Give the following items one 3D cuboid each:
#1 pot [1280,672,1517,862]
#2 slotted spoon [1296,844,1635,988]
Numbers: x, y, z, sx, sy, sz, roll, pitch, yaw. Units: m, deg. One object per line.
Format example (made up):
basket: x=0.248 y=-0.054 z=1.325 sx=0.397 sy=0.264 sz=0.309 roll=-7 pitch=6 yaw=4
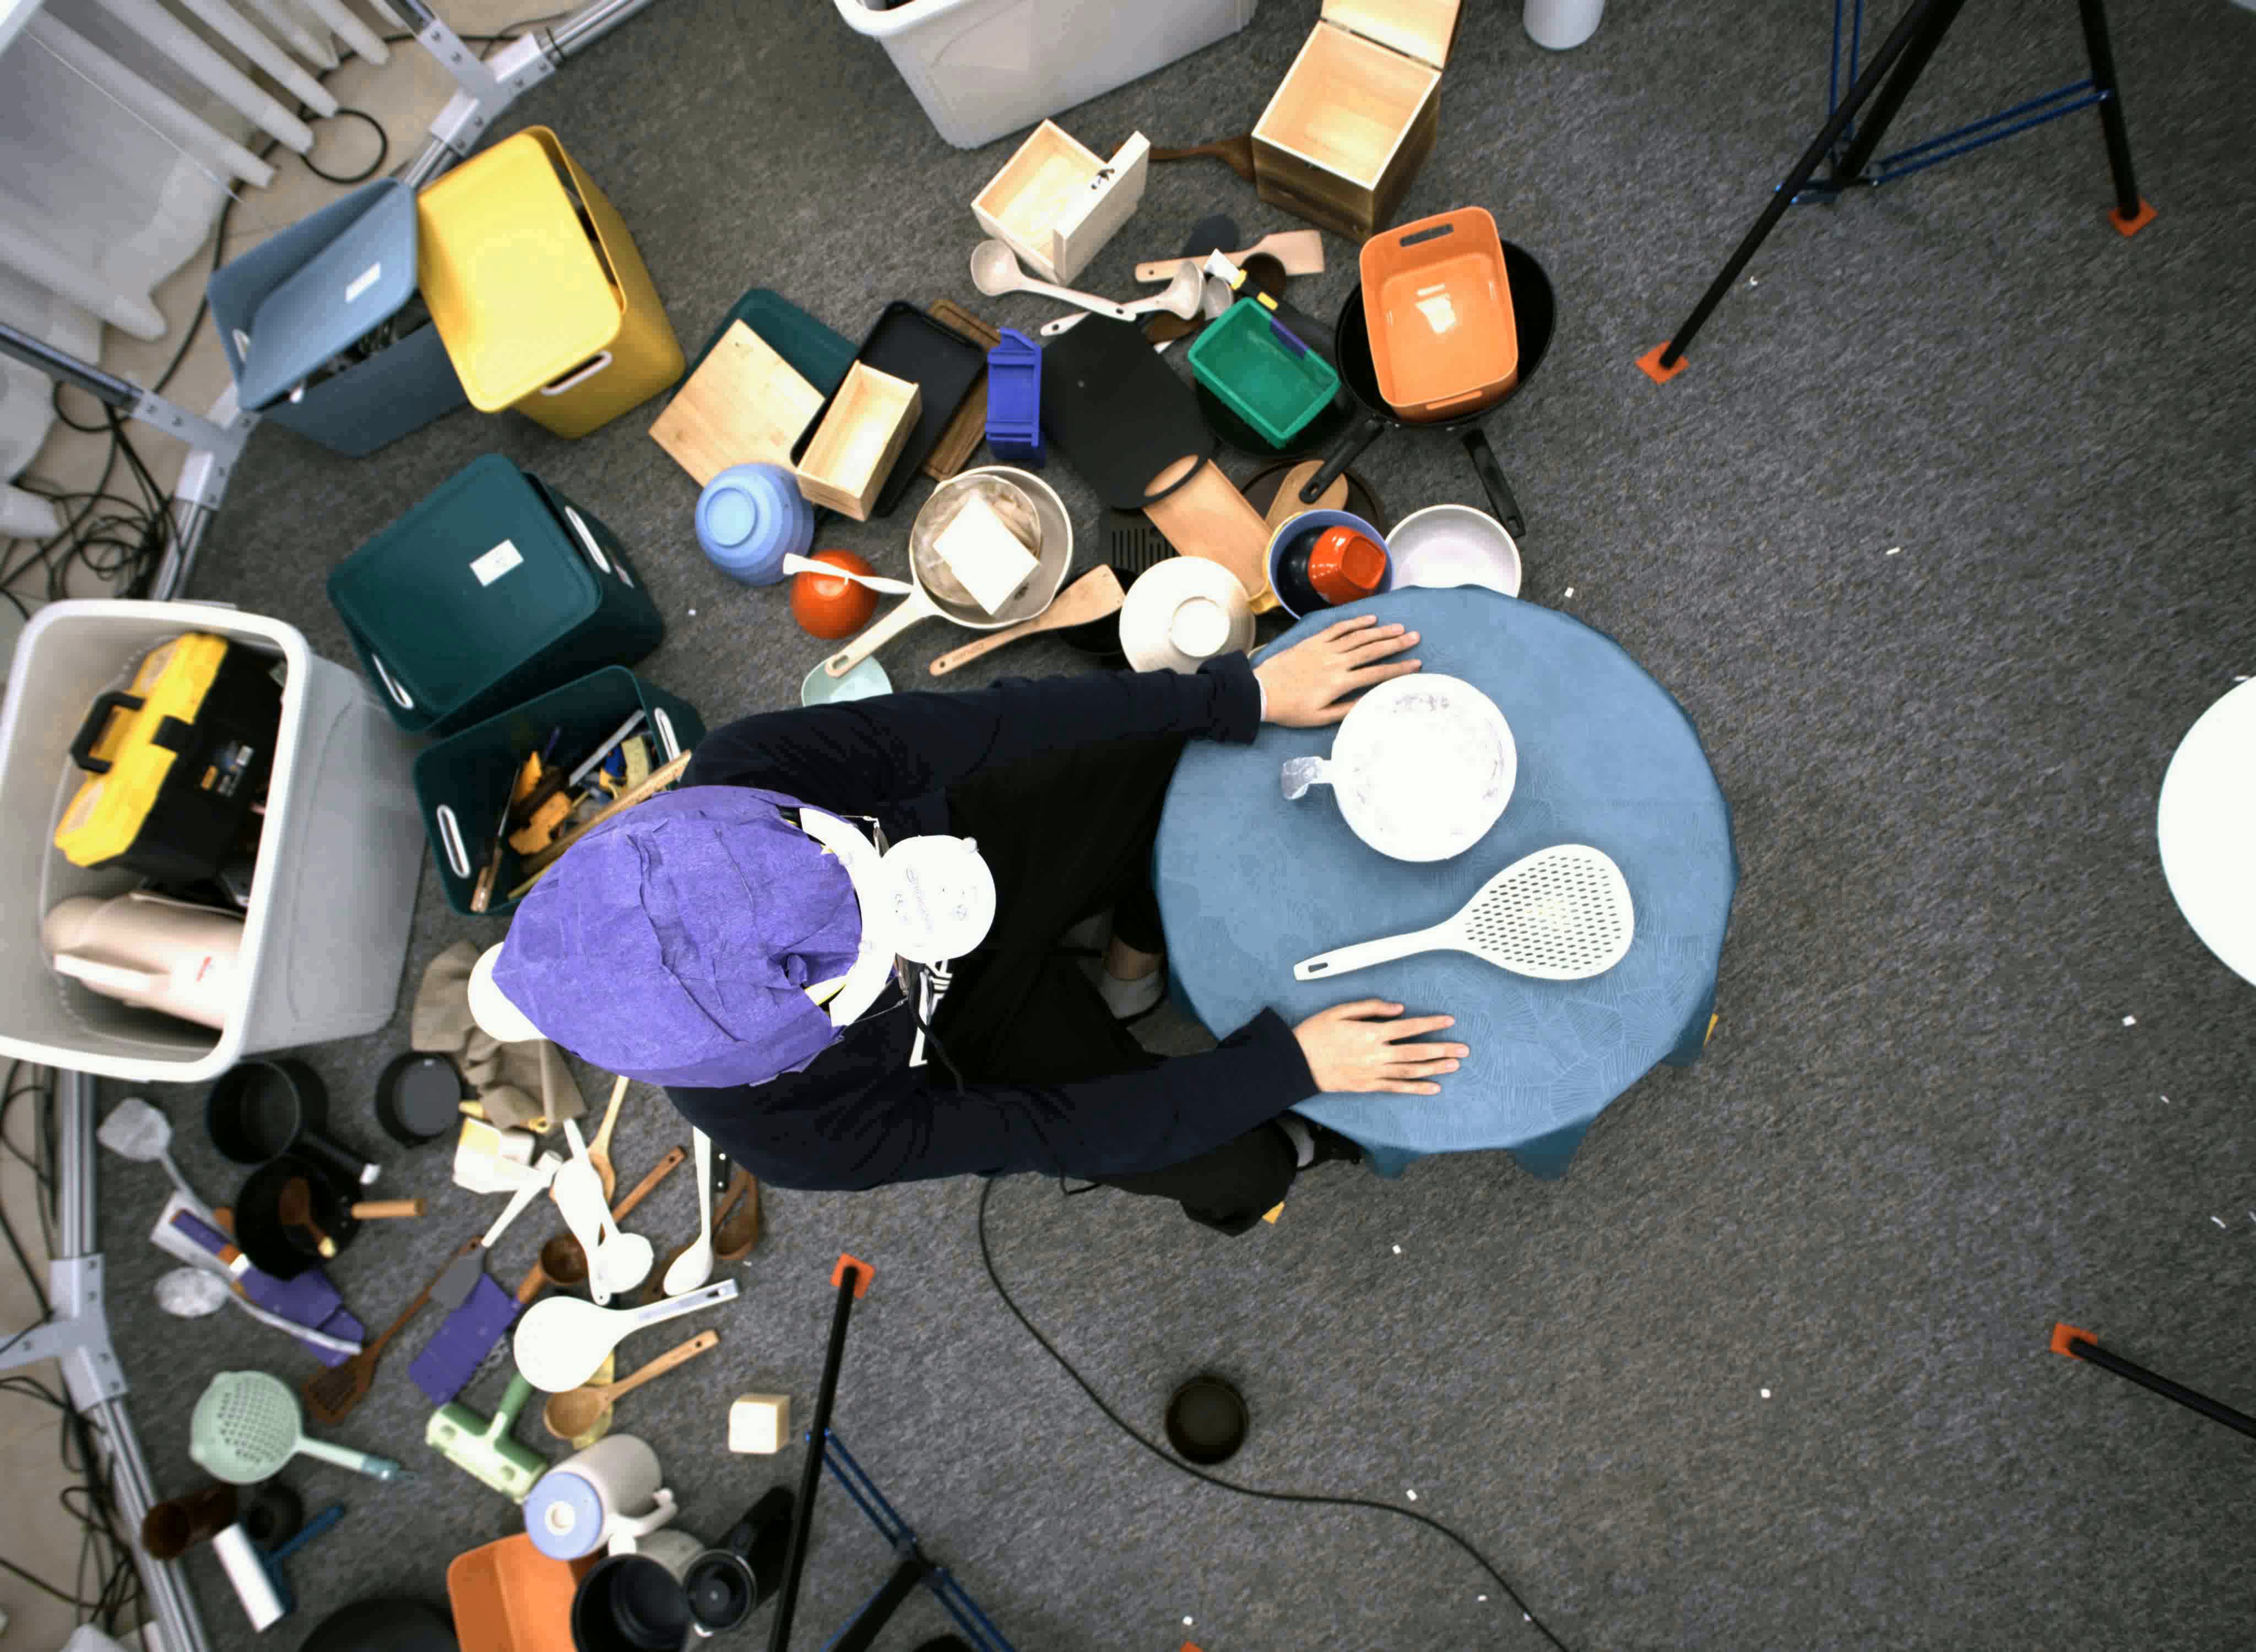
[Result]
pot: x=0.270 y=-0.054 z=1.398 sx=0.235 sy=0.137 sz=0.177 roll=-3 pitch=83 yaw=10
slotted spoon: x=0.341 y=0.113 z=1.422 sx=0.350 sy=0.050 sz=0.136 roll=-14 pitch=85 yaw=9
